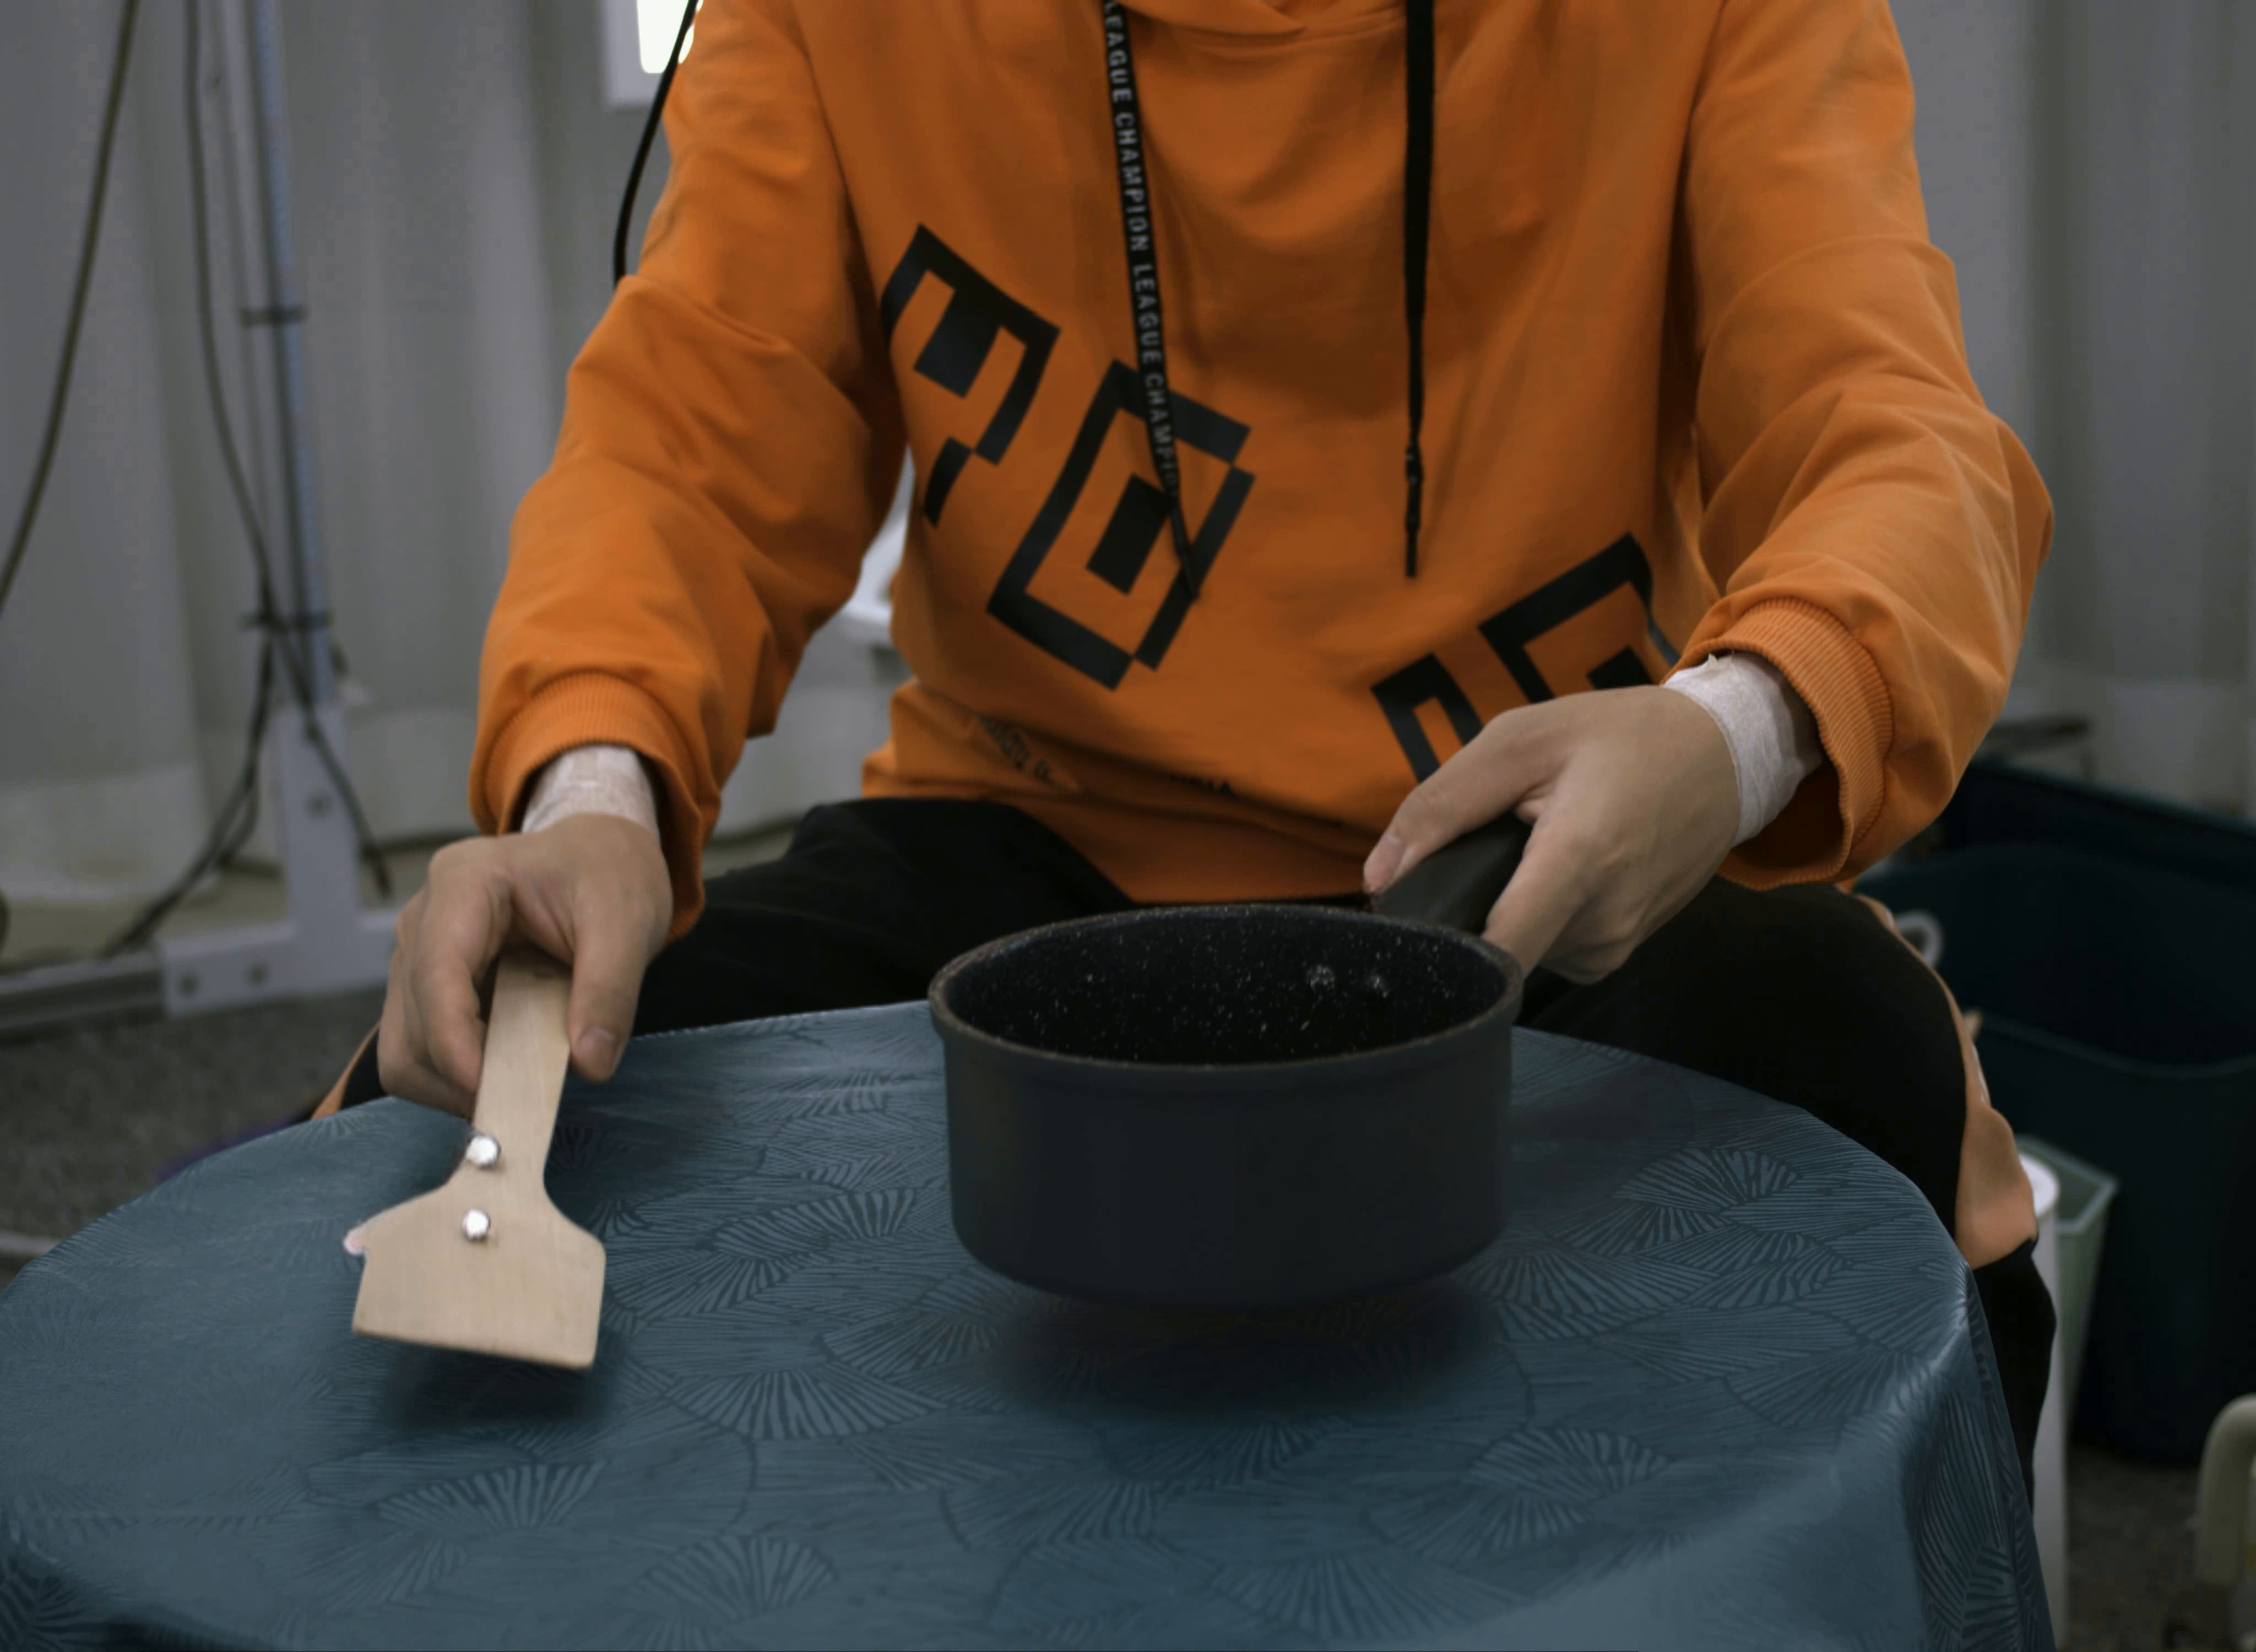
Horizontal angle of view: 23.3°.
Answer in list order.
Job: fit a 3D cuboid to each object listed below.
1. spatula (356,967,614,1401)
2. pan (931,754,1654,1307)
[{"bbox_3d":[-0.189,0.104,1.674,0.072,0.010,0.296,7,22,-5],"label":"spatula"},{"bbox_3d":[0.070,0.058,1.640,0.172,0.086,0.329,7,18,30],"label":"pan"}]
